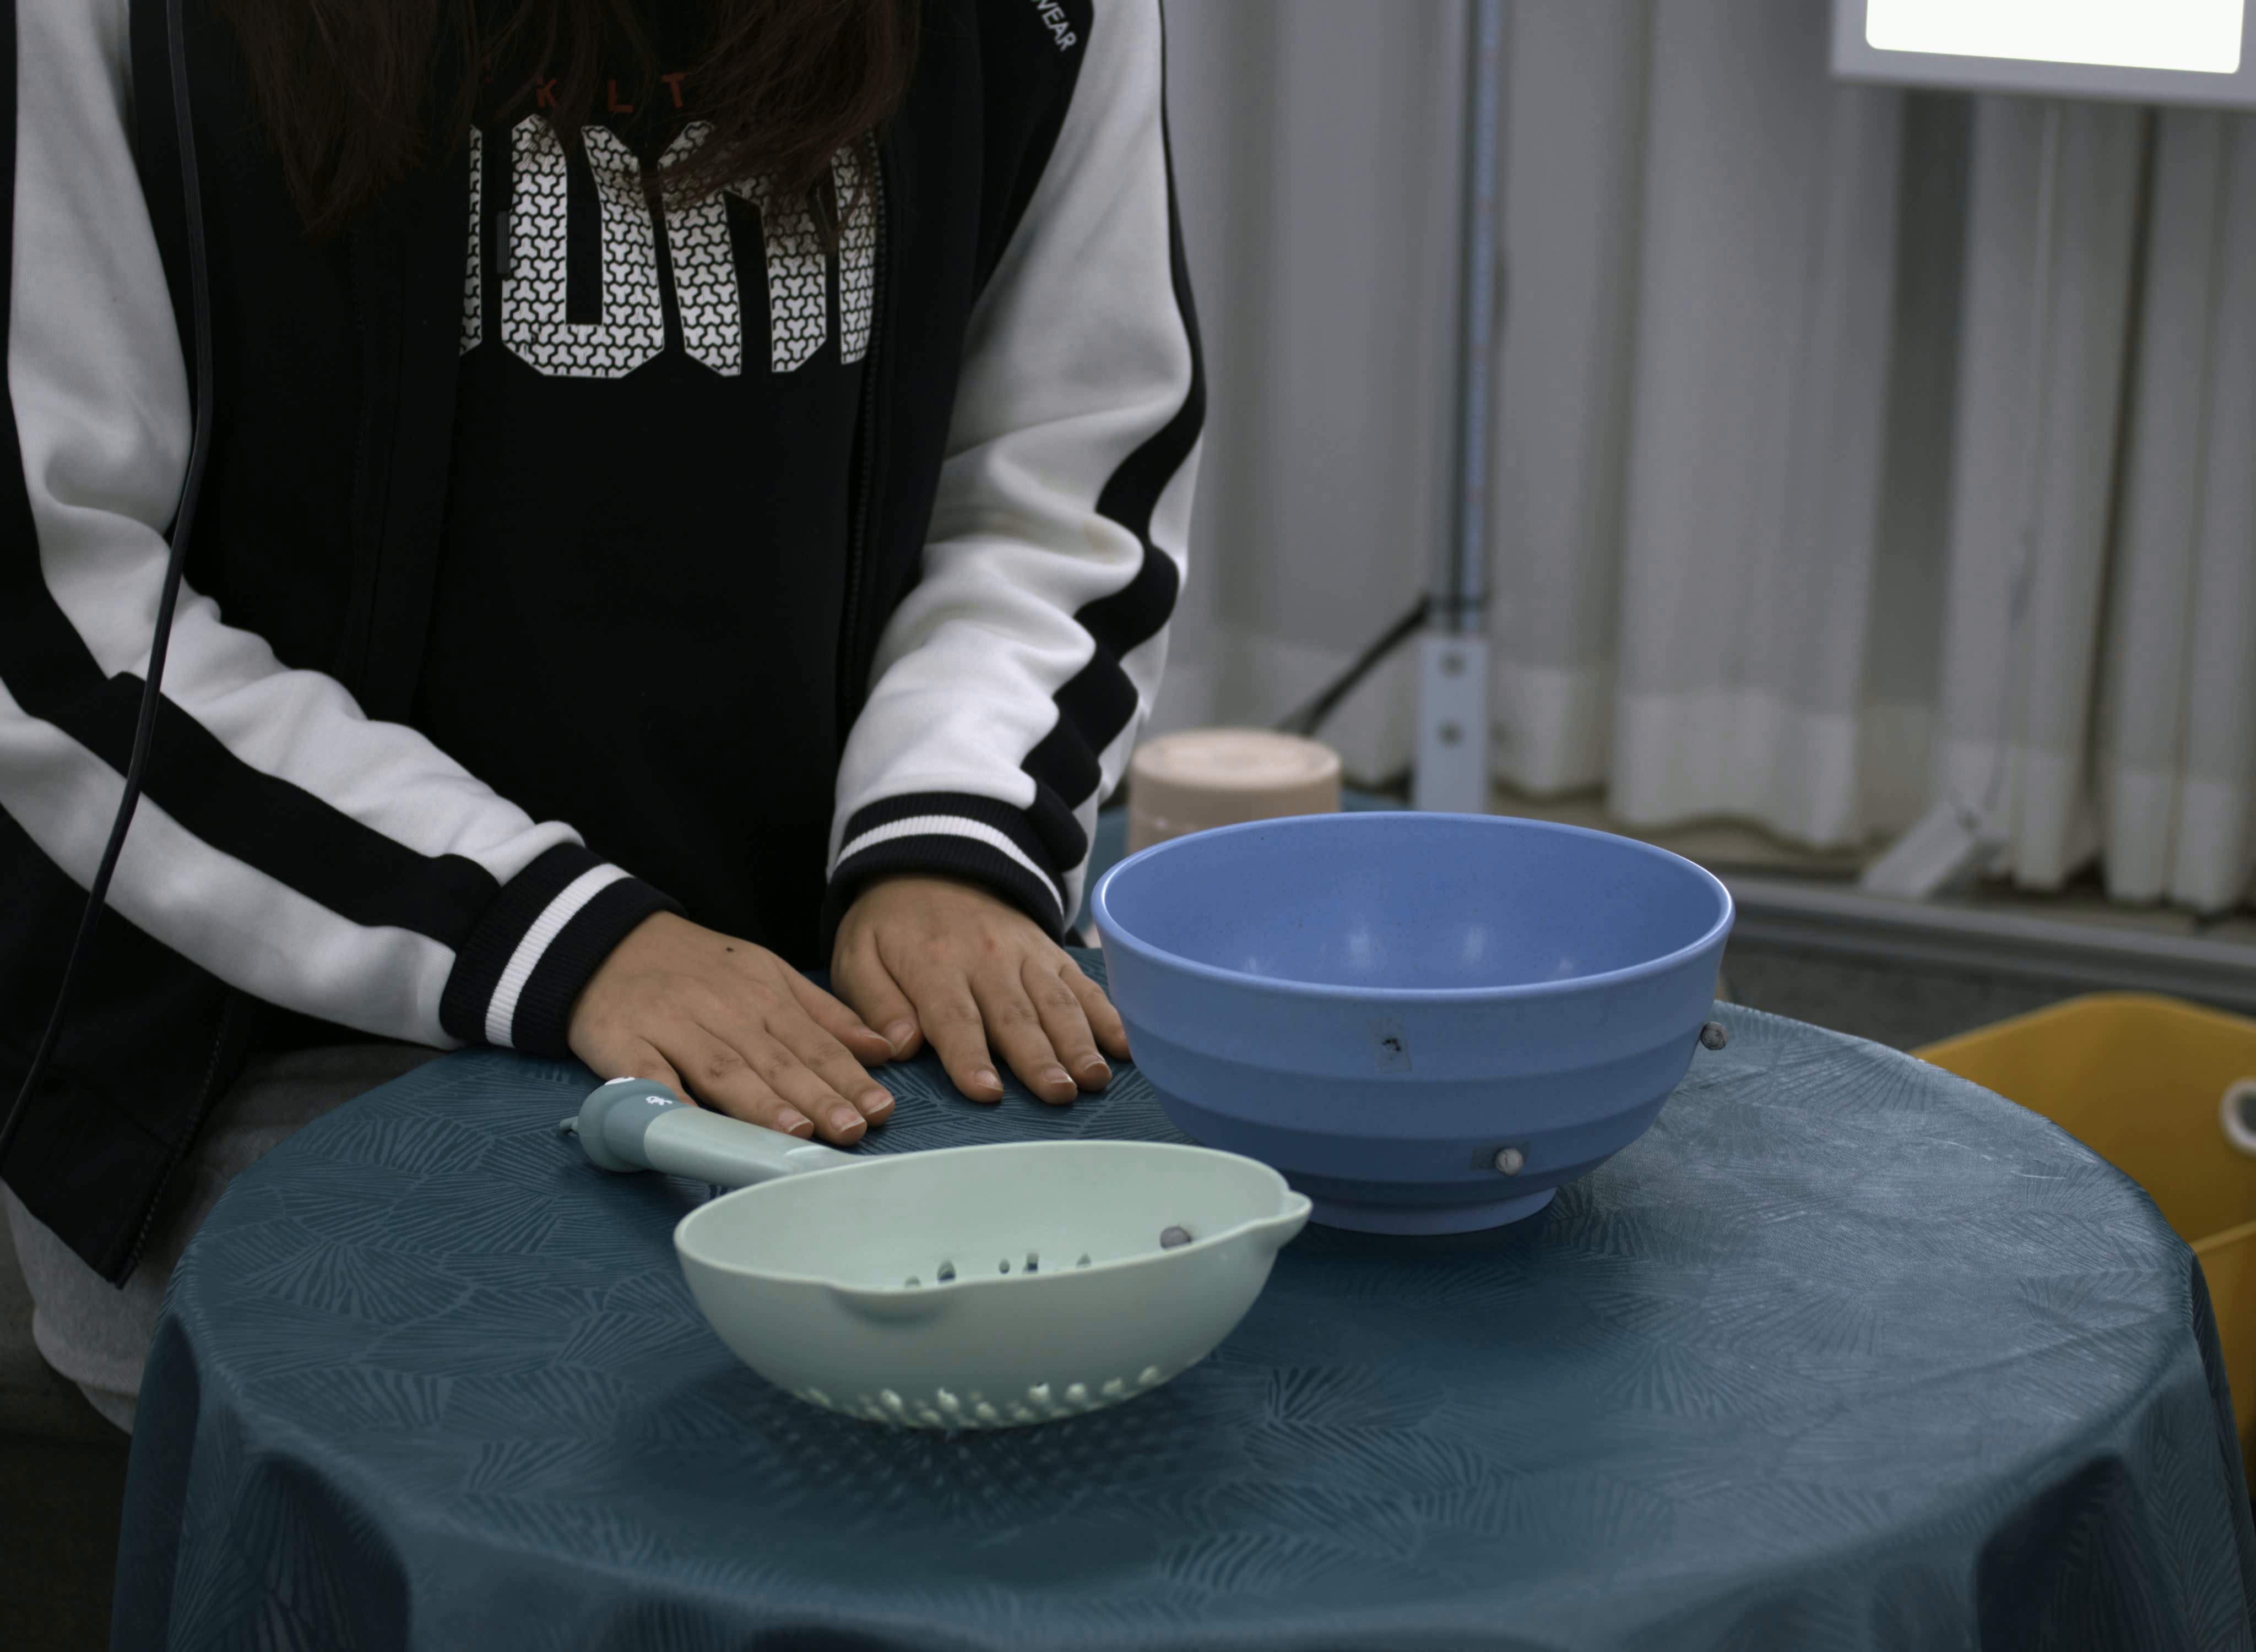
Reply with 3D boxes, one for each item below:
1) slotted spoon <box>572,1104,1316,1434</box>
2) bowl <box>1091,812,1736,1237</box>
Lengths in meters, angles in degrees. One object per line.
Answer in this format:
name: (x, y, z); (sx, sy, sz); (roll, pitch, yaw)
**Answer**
slotted spoon: (-0.086, 0.110, 1.518); (0.170, 0.076, 0.354); (-8, 16, -29)
bowl: (0.087, 0.066, 1.613); (0.196, 0.096, 0.195); (0, 16, 1)
